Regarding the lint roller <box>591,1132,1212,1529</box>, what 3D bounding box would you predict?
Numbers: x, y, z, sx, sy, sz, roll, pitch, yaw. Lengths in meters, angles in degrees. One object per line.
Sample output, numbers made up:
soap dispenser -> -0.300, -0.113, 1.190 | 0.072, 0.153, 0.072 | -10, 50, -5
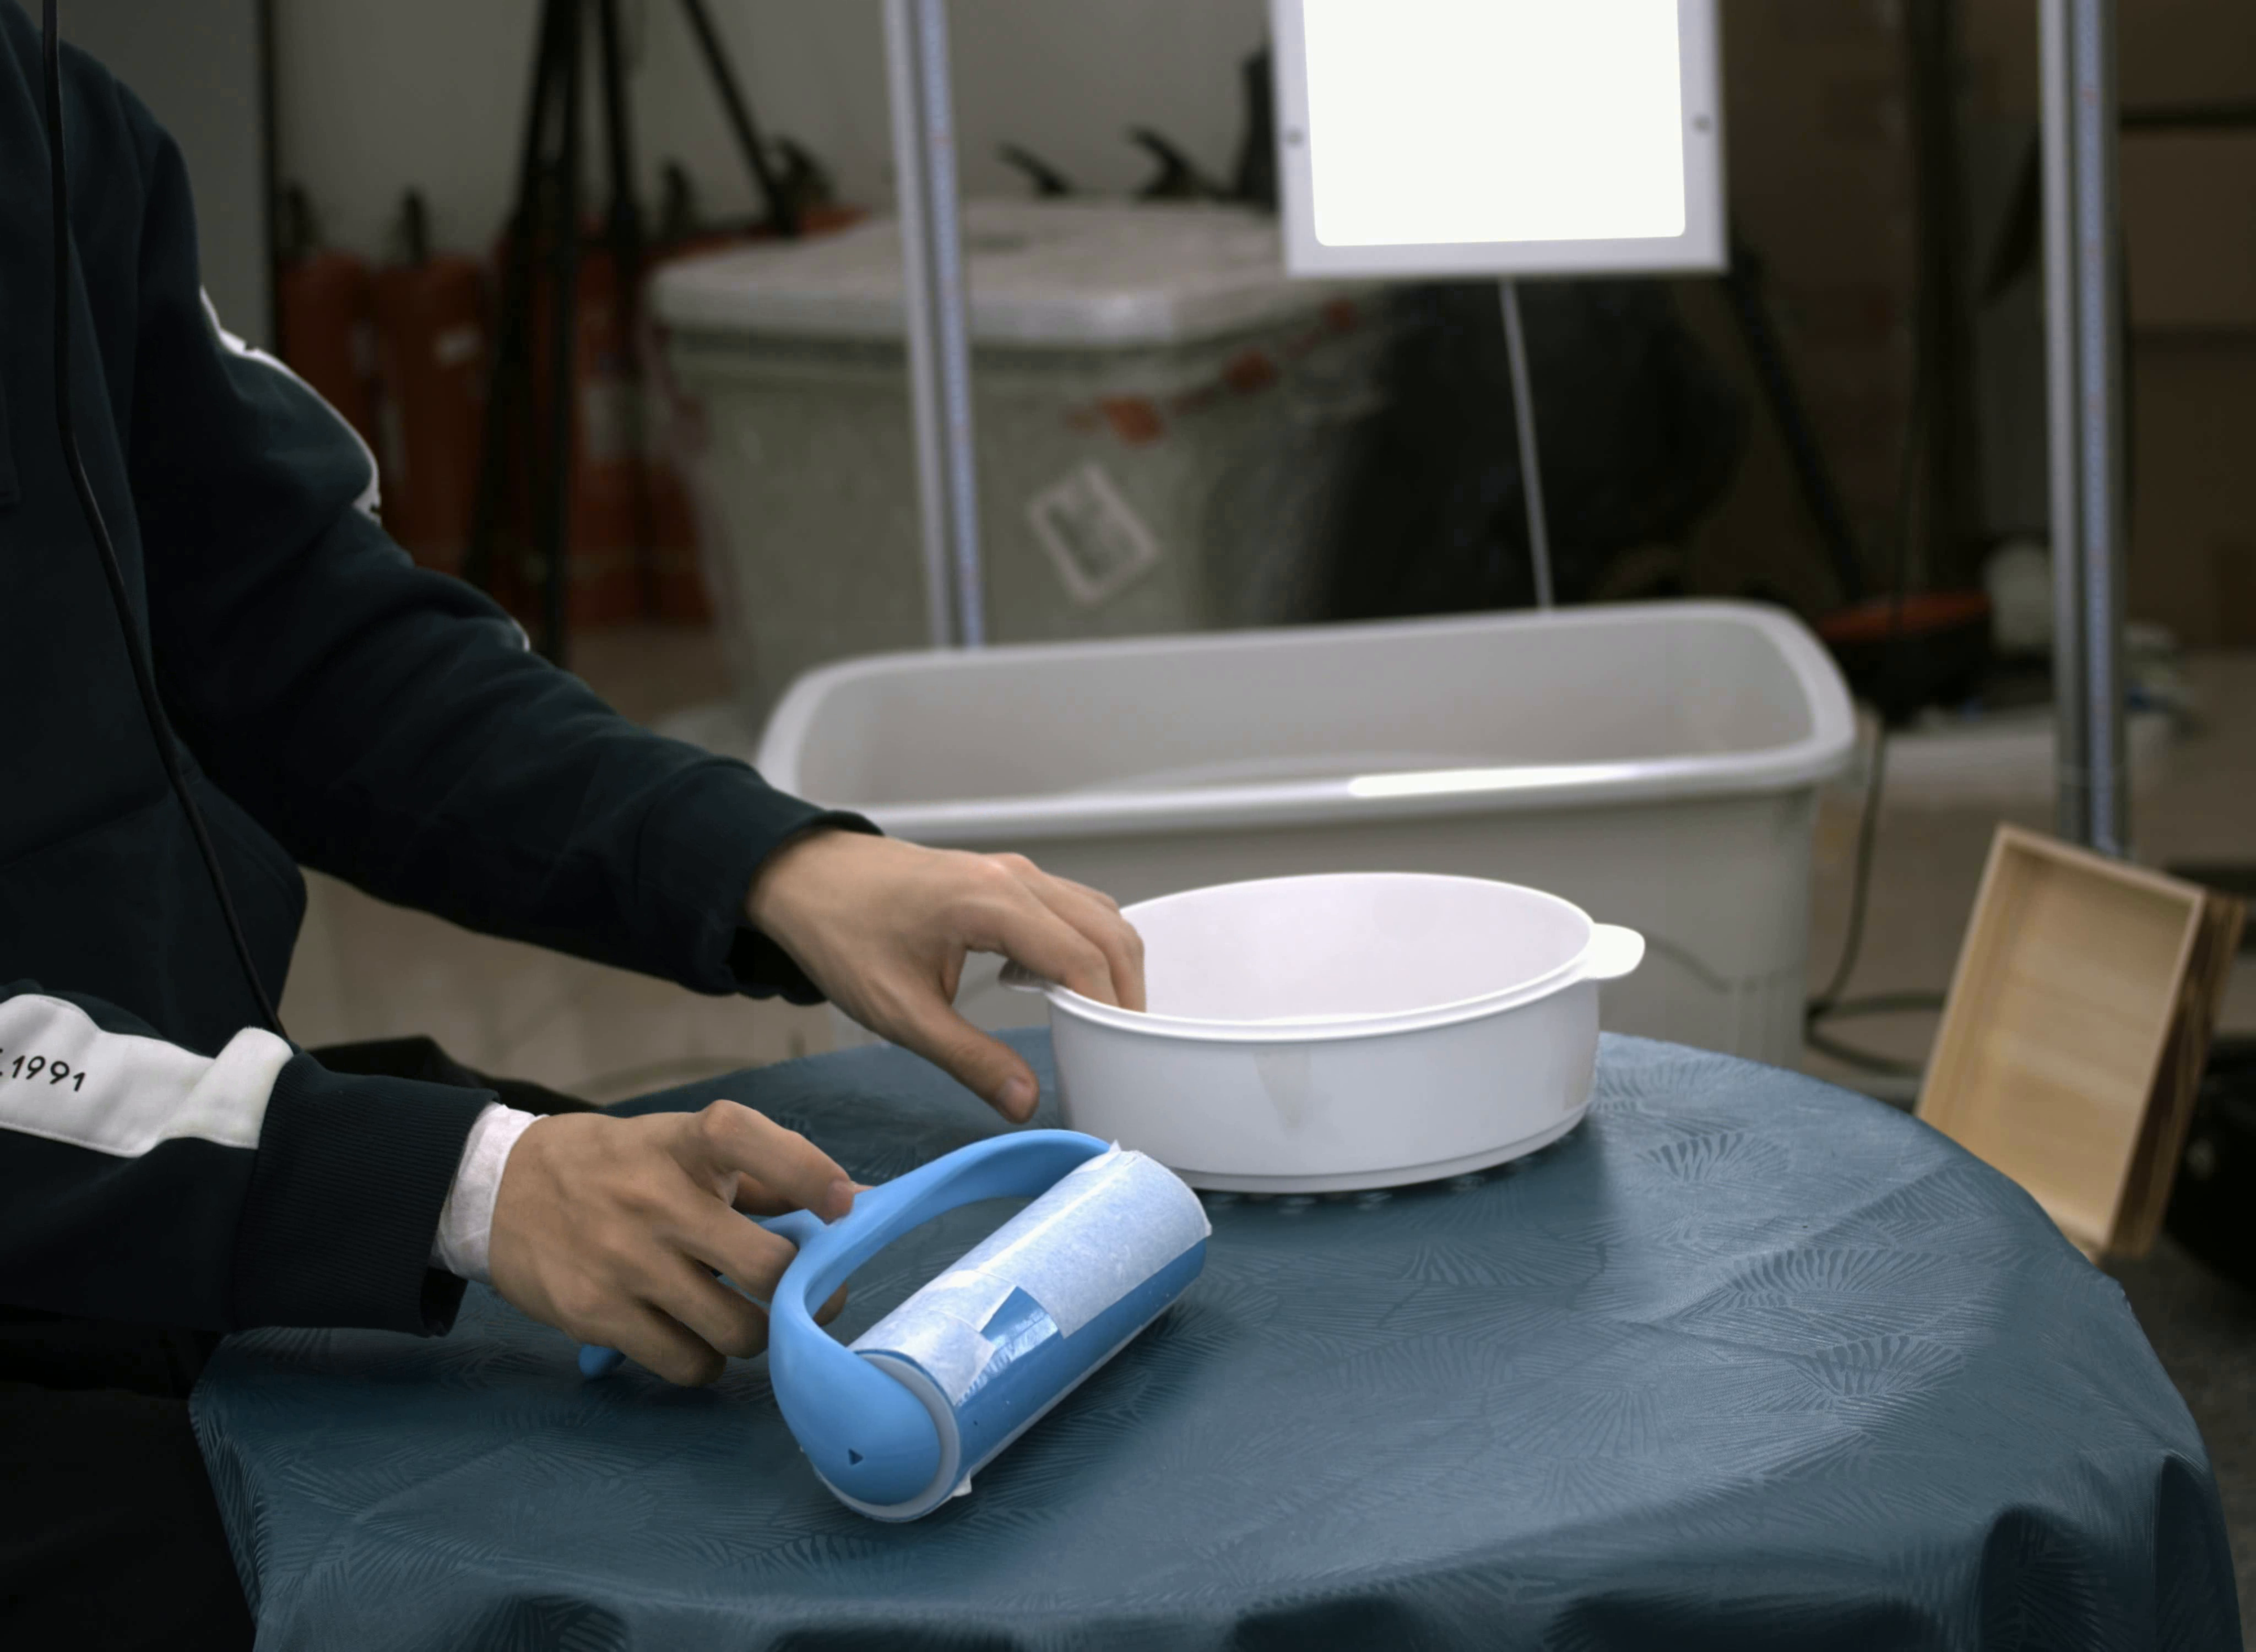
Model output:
lint roller -> -0.087, 0.152, 1.706 | 0.182, 0.068, 0.225 | 1, 17, 20

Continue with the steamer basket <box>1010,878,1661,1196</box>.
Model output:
steamer basket -> 0.075, 0.074, 1.939 | 0.232, 0.069, 0.199 | -3, 13, 13
